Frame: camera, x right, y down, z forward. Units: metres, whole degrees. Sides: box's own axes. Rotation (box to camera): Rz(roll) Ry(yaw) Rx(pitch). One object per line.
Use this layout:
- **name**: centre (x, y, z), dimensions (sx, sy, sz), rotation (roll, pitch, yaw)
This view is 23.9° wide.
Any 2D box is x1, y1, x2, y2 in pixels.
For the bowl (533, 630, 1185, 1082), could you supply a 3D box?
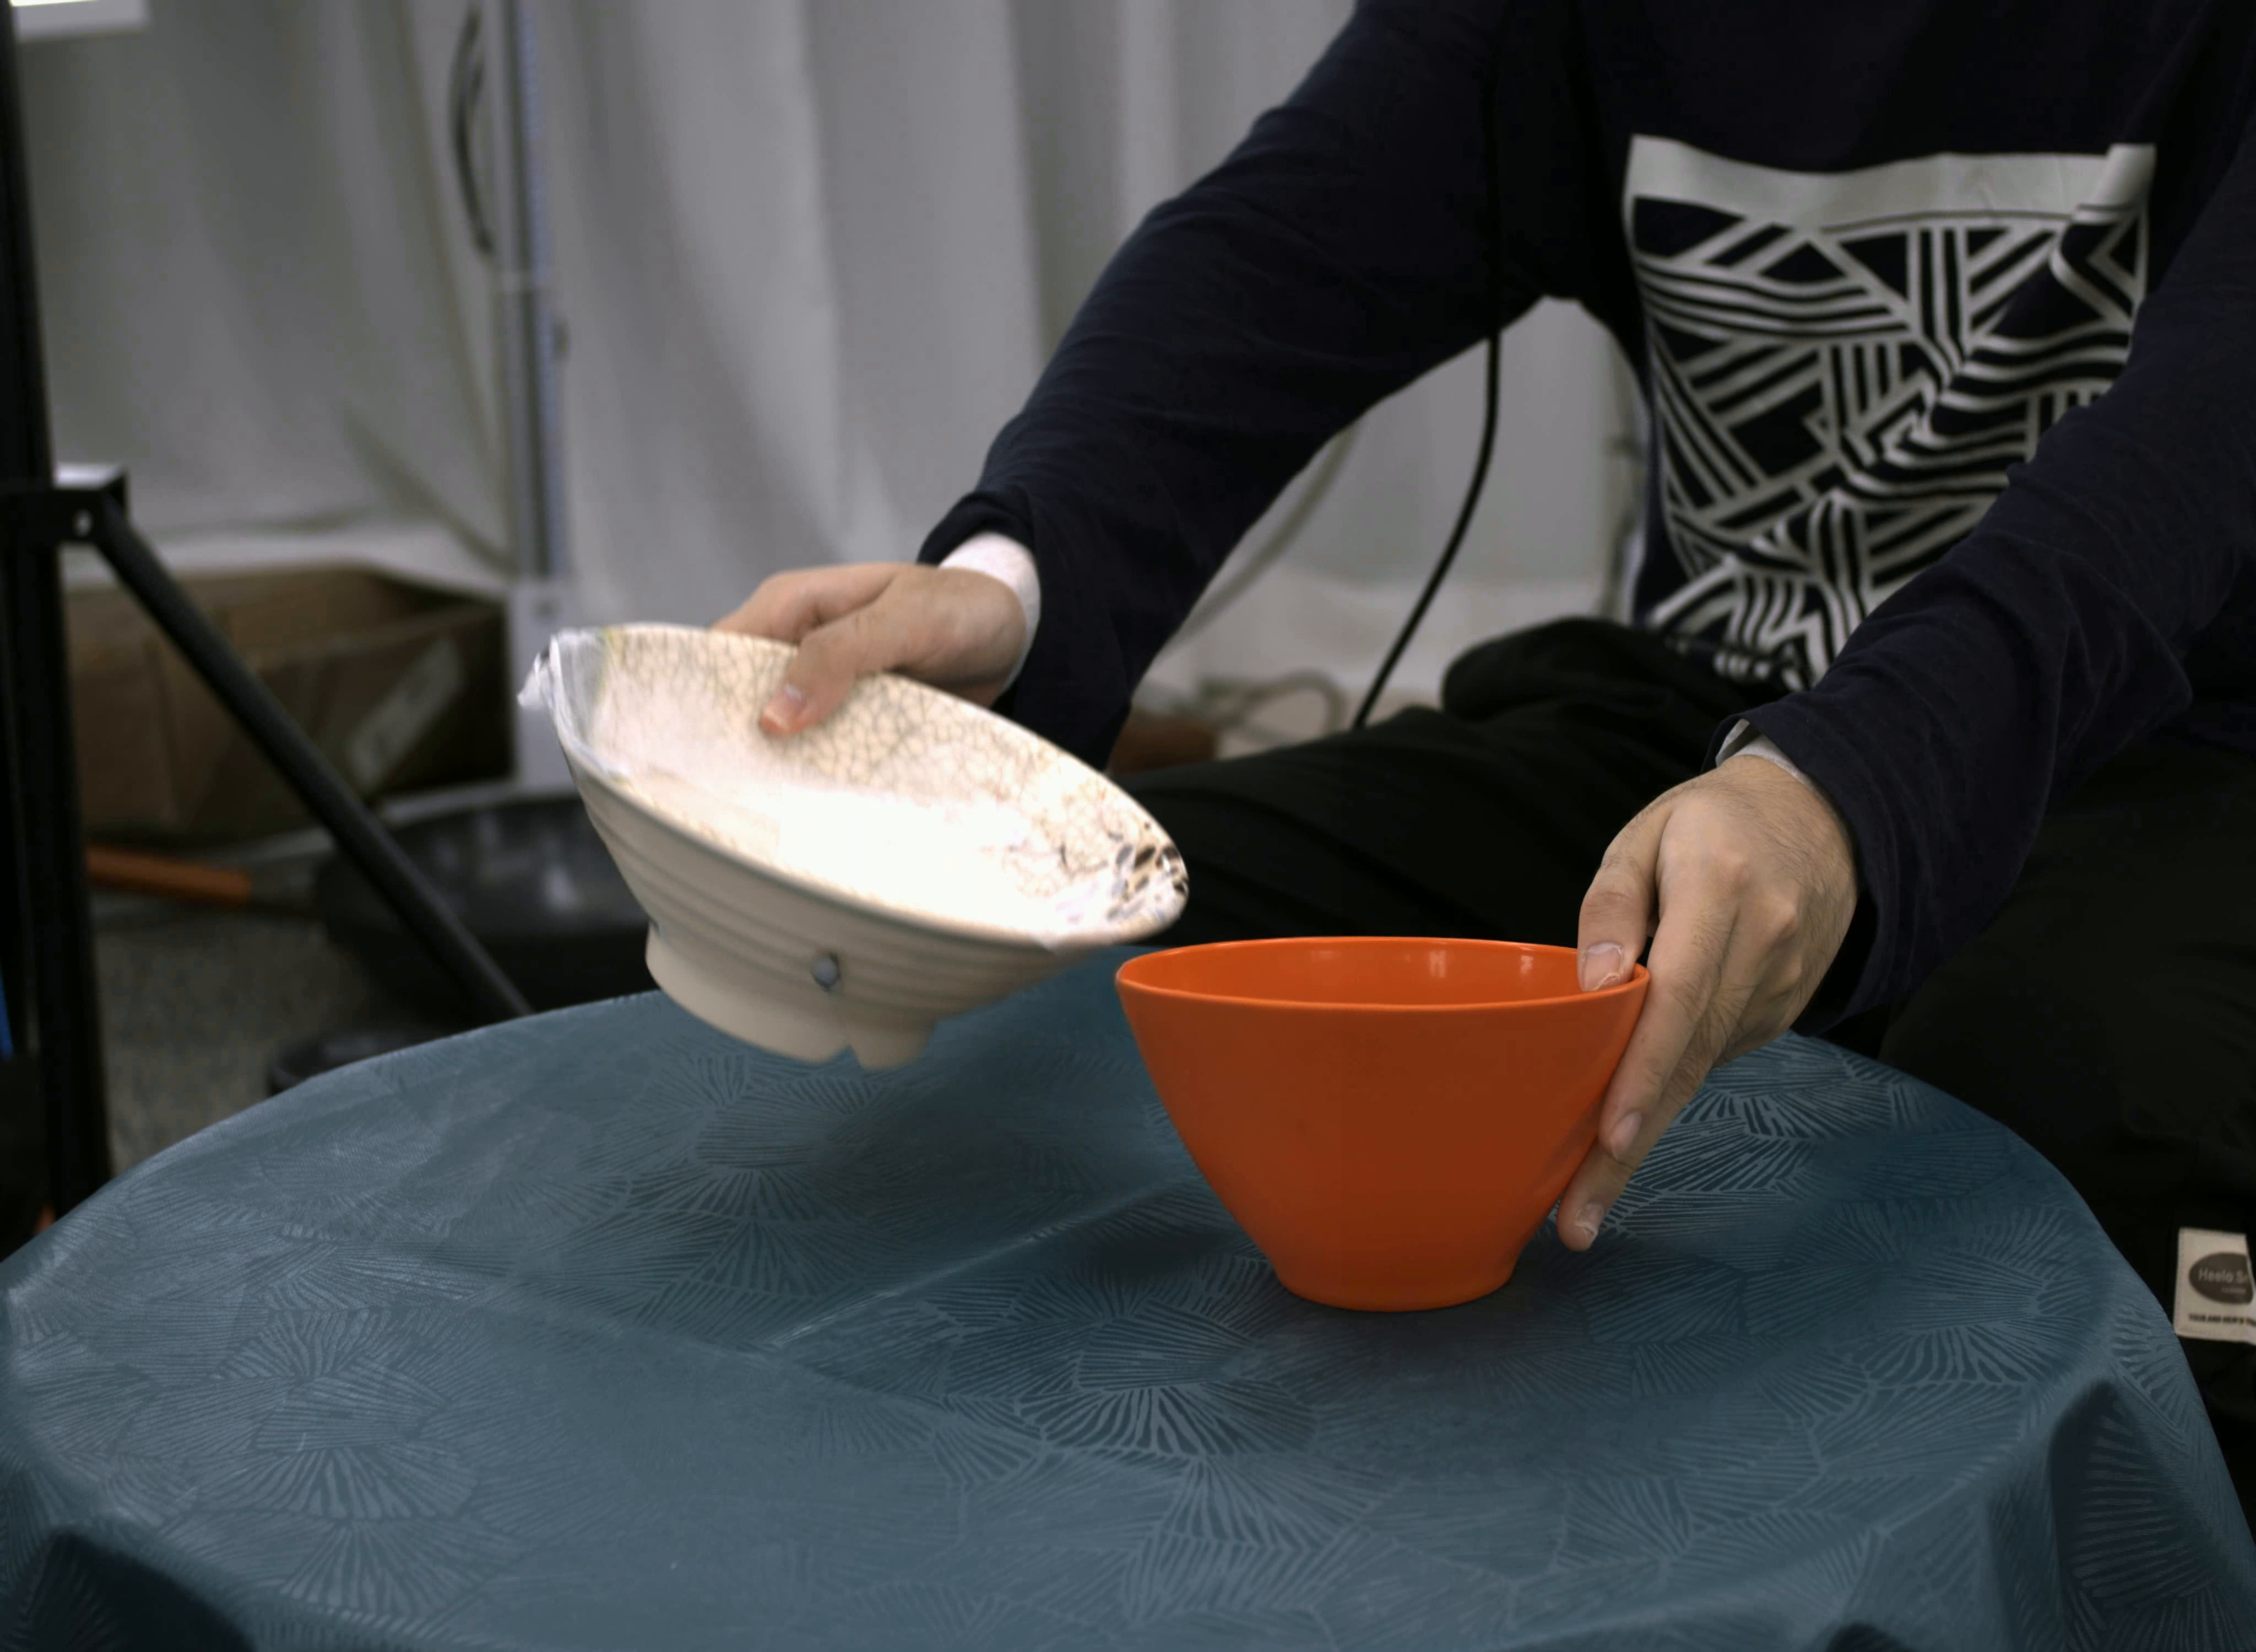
- **bowl**: centre (-0.090, 0.021, 1.573), dimensions (0.202, 0.078, 0.205), rotation (19, 18, -8)

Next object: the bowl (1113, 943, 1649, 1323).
- **bowl**: centre (0.070, 0.081, 1.464), dimensions (0.147, 0.105, 0.149), rotation (-2, 13, -1)
